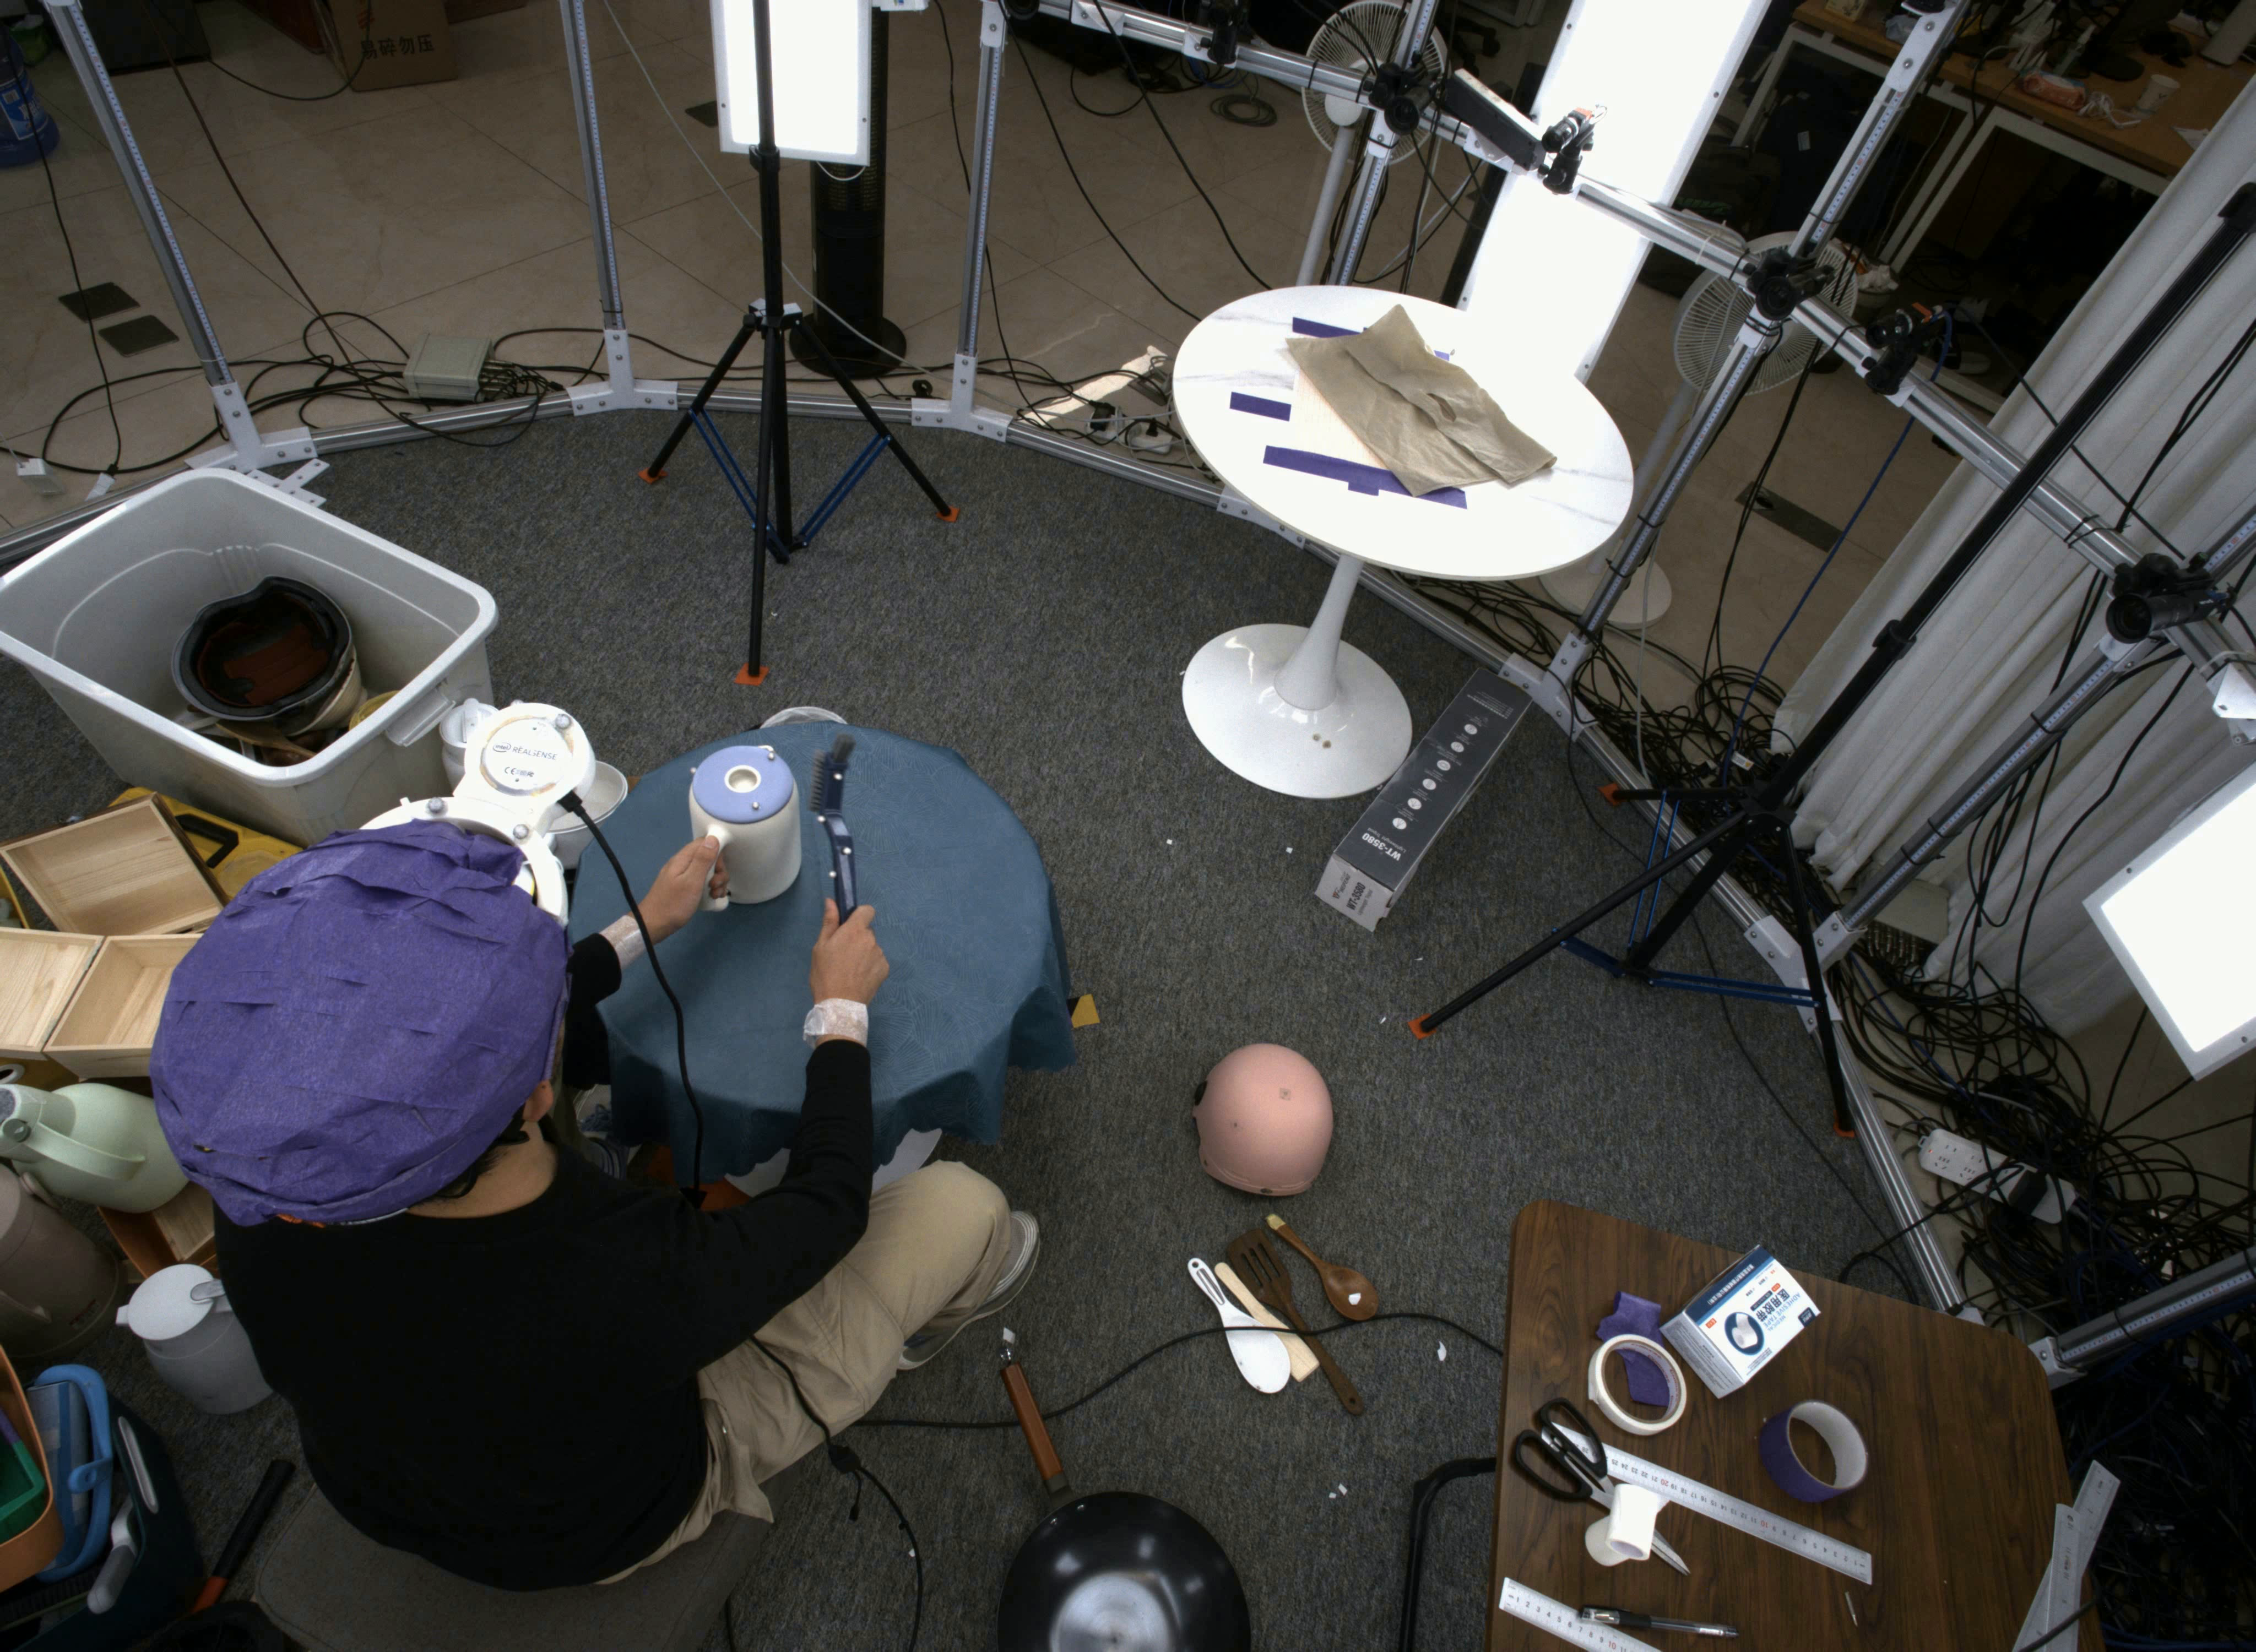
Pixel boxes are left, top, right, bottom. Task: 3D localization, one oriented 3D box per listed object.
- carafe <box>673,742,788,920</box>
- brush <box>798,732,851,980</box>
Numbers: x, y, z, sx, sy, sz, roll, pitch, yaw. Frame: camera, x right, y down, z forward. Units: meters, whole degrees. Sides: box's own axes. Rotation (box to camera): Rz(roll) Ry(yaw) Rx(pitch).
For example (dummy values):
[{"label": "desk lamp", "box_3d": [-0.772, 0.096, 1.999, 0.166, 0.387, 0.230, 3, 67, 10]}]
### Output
[{"label": "carafe", "box_3d": [-0.494, 0.017, 1.576, 0.131, 0.186, 0.189, 16, 52, 1]}, {"label": "brush", "box_3d": [-0.344, 0.035, 1.511, 0.034, 0.093, 0.274, 1, 75, -56]}]
